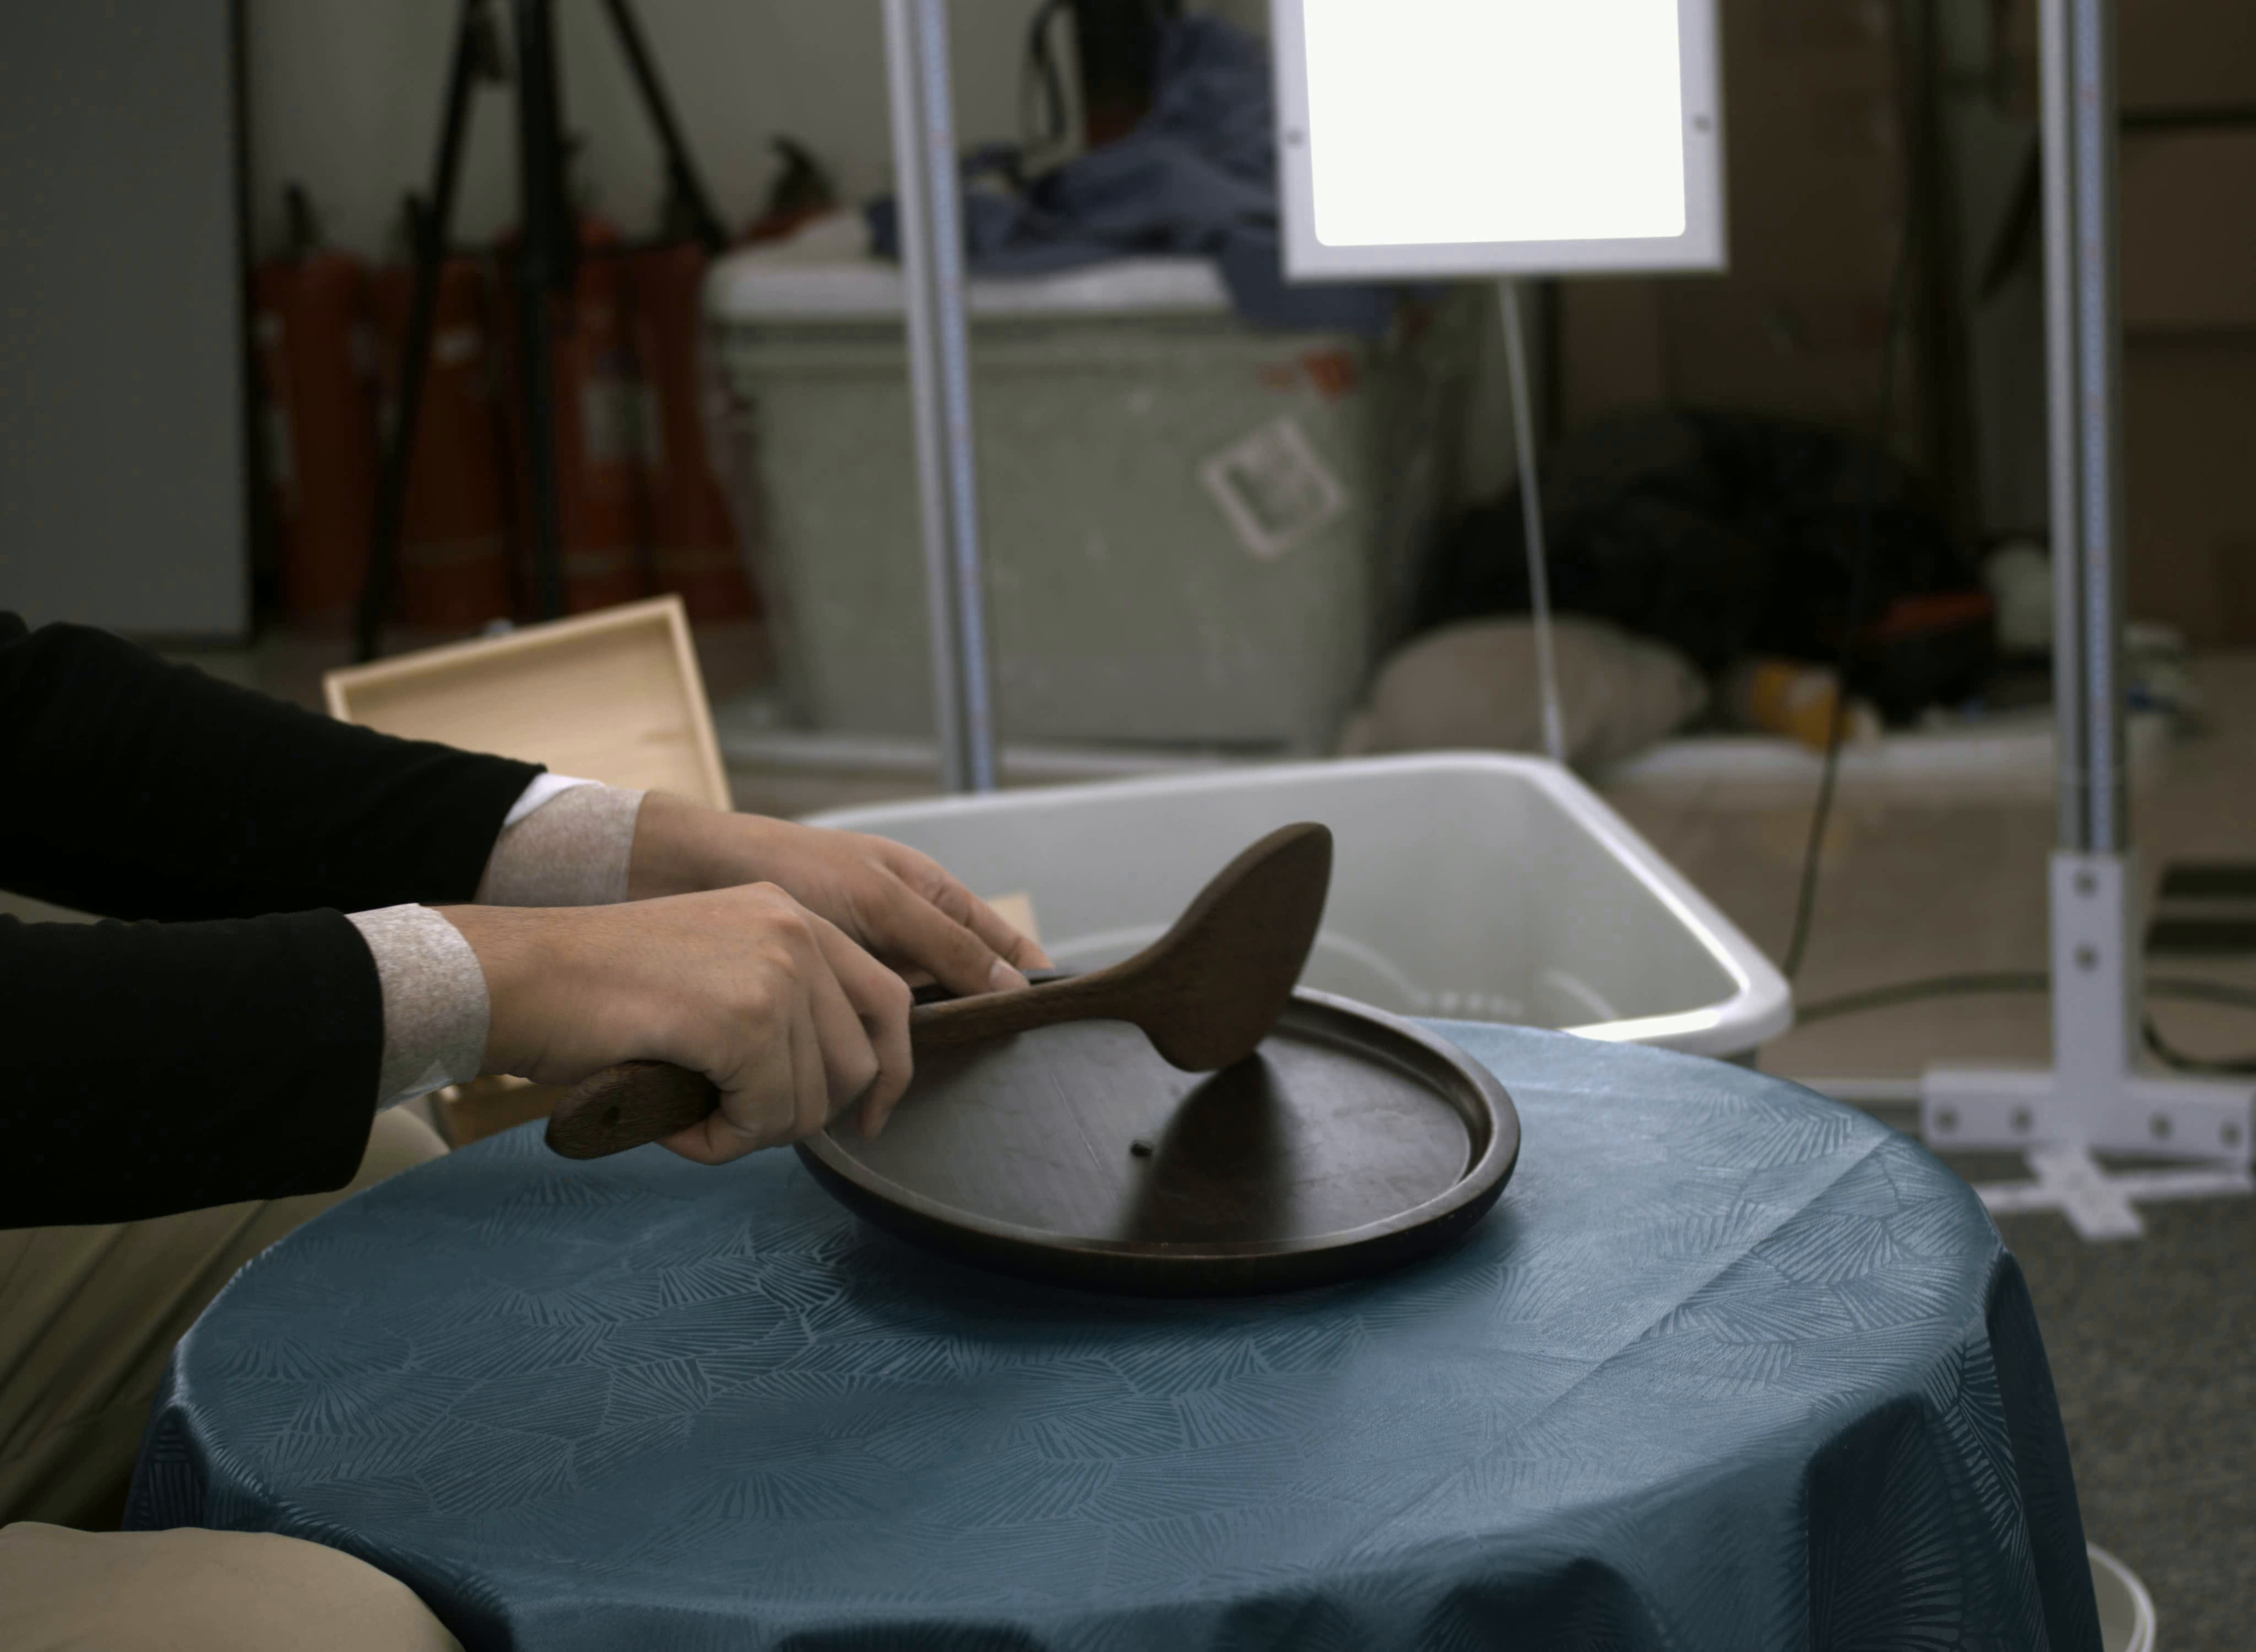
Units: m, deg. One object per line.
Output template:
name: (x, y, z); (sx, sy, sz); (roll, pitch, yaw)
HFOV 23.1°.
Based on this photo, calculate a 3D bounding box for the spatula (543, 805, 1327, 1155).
spatula: (-0.055, 0.060, 1.786); (0.016, 0.097, 0.376); (32, 27, 33)

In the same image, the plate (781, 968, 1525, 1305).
plate: (0.008, 0.102, 1.866); (0.254, 0.029, 0.254); (2, 22, -2)
